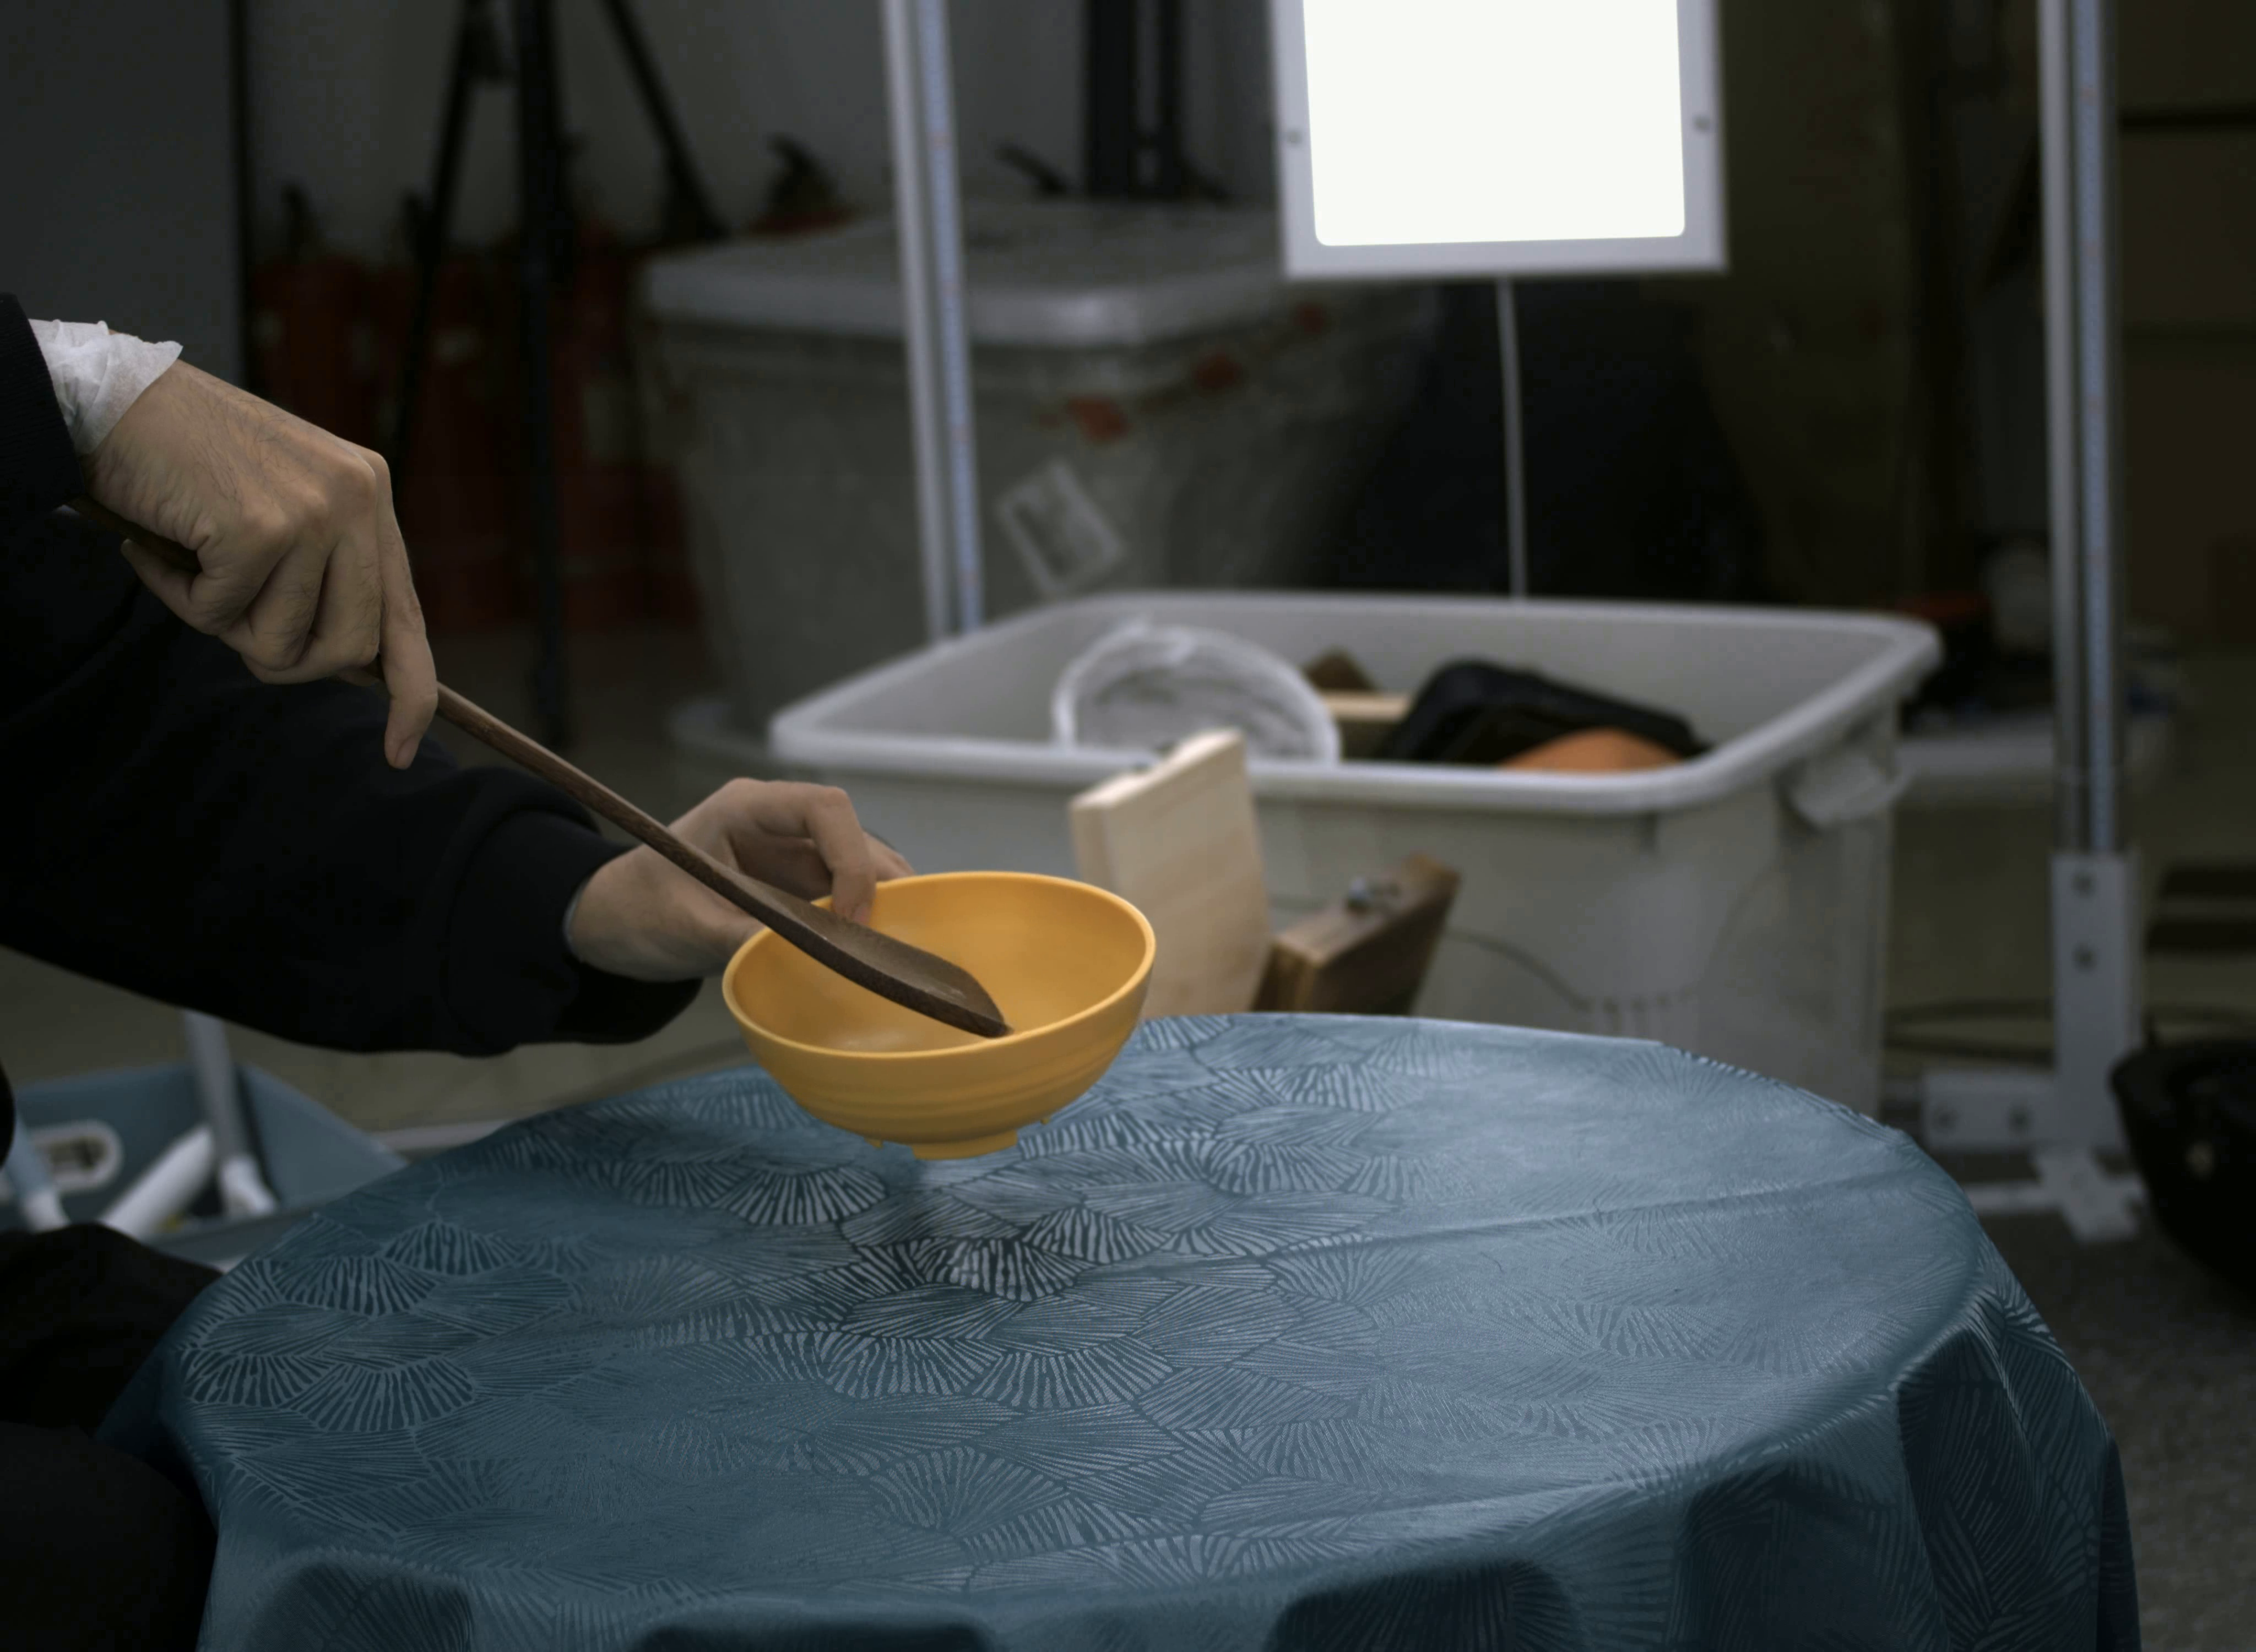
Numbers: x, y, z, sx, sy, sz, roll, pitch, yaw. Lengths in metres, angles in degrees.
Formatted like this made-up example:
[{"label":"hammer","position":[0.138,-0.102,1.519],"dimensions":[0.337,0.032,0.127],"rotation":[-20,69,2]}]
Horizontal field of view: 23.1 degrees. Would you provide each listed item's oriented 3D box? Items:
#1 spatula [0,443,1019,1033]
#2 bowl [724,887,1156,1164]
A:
[{"label":"spatula","position":[-0.196,-0.026,1.774],"dimensions":[0.382,0.016,0.097],"rotation":[31,3,-16]},{"label":"bowl","position":[-0.060,0.073,1.834],"dimensions":[0.145,0.060,0.145],"rotation":[-5,21,1]}]
